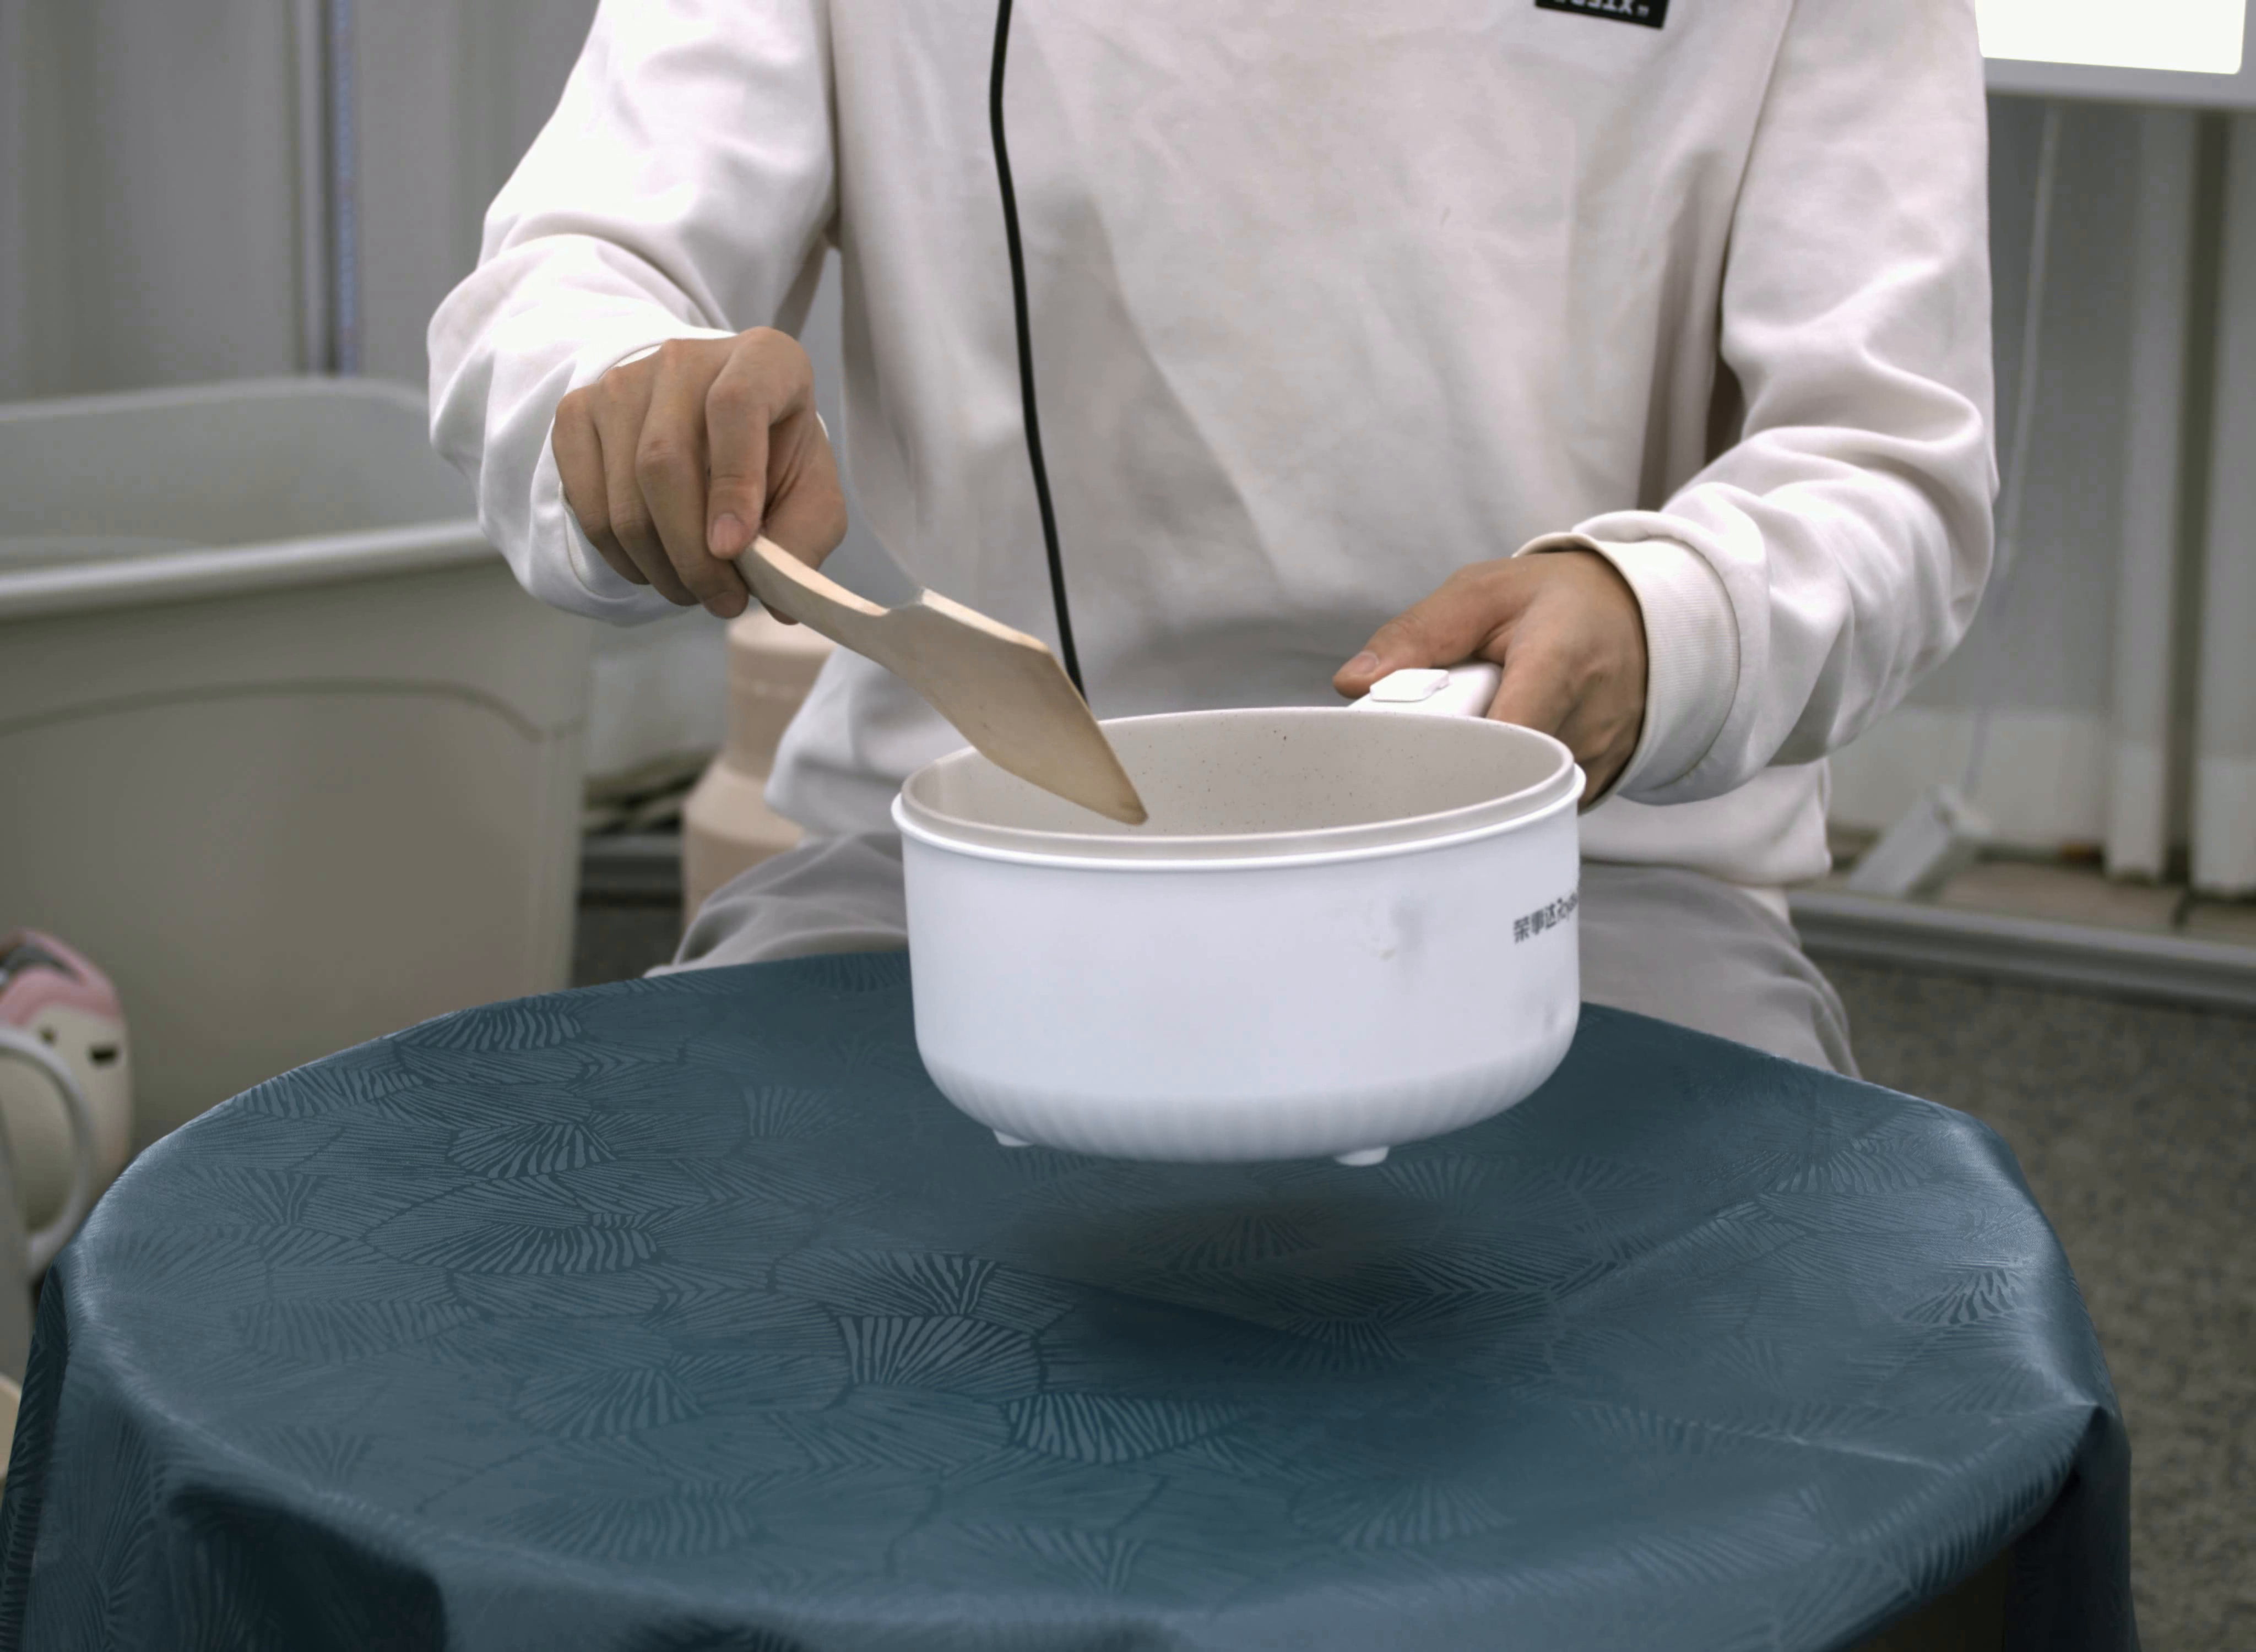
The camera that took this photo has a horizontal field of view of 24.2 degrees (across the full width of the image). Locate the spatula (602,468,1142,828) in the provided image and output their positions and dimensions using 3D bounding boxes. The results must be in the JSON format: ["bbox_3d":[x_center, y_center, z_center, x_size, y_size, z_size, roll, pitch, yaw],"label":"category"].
[{"bbox_3d":[-0.088,-0.065,1.574,0.010,0.073,0.289,-41,35,-15],"label":"spatula"}]

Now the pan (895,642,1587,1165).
[{"bbox_3d":[0.063,0.019,1.602,0.199,0.103,0.355,1,11,21],"label":"pan"}]
